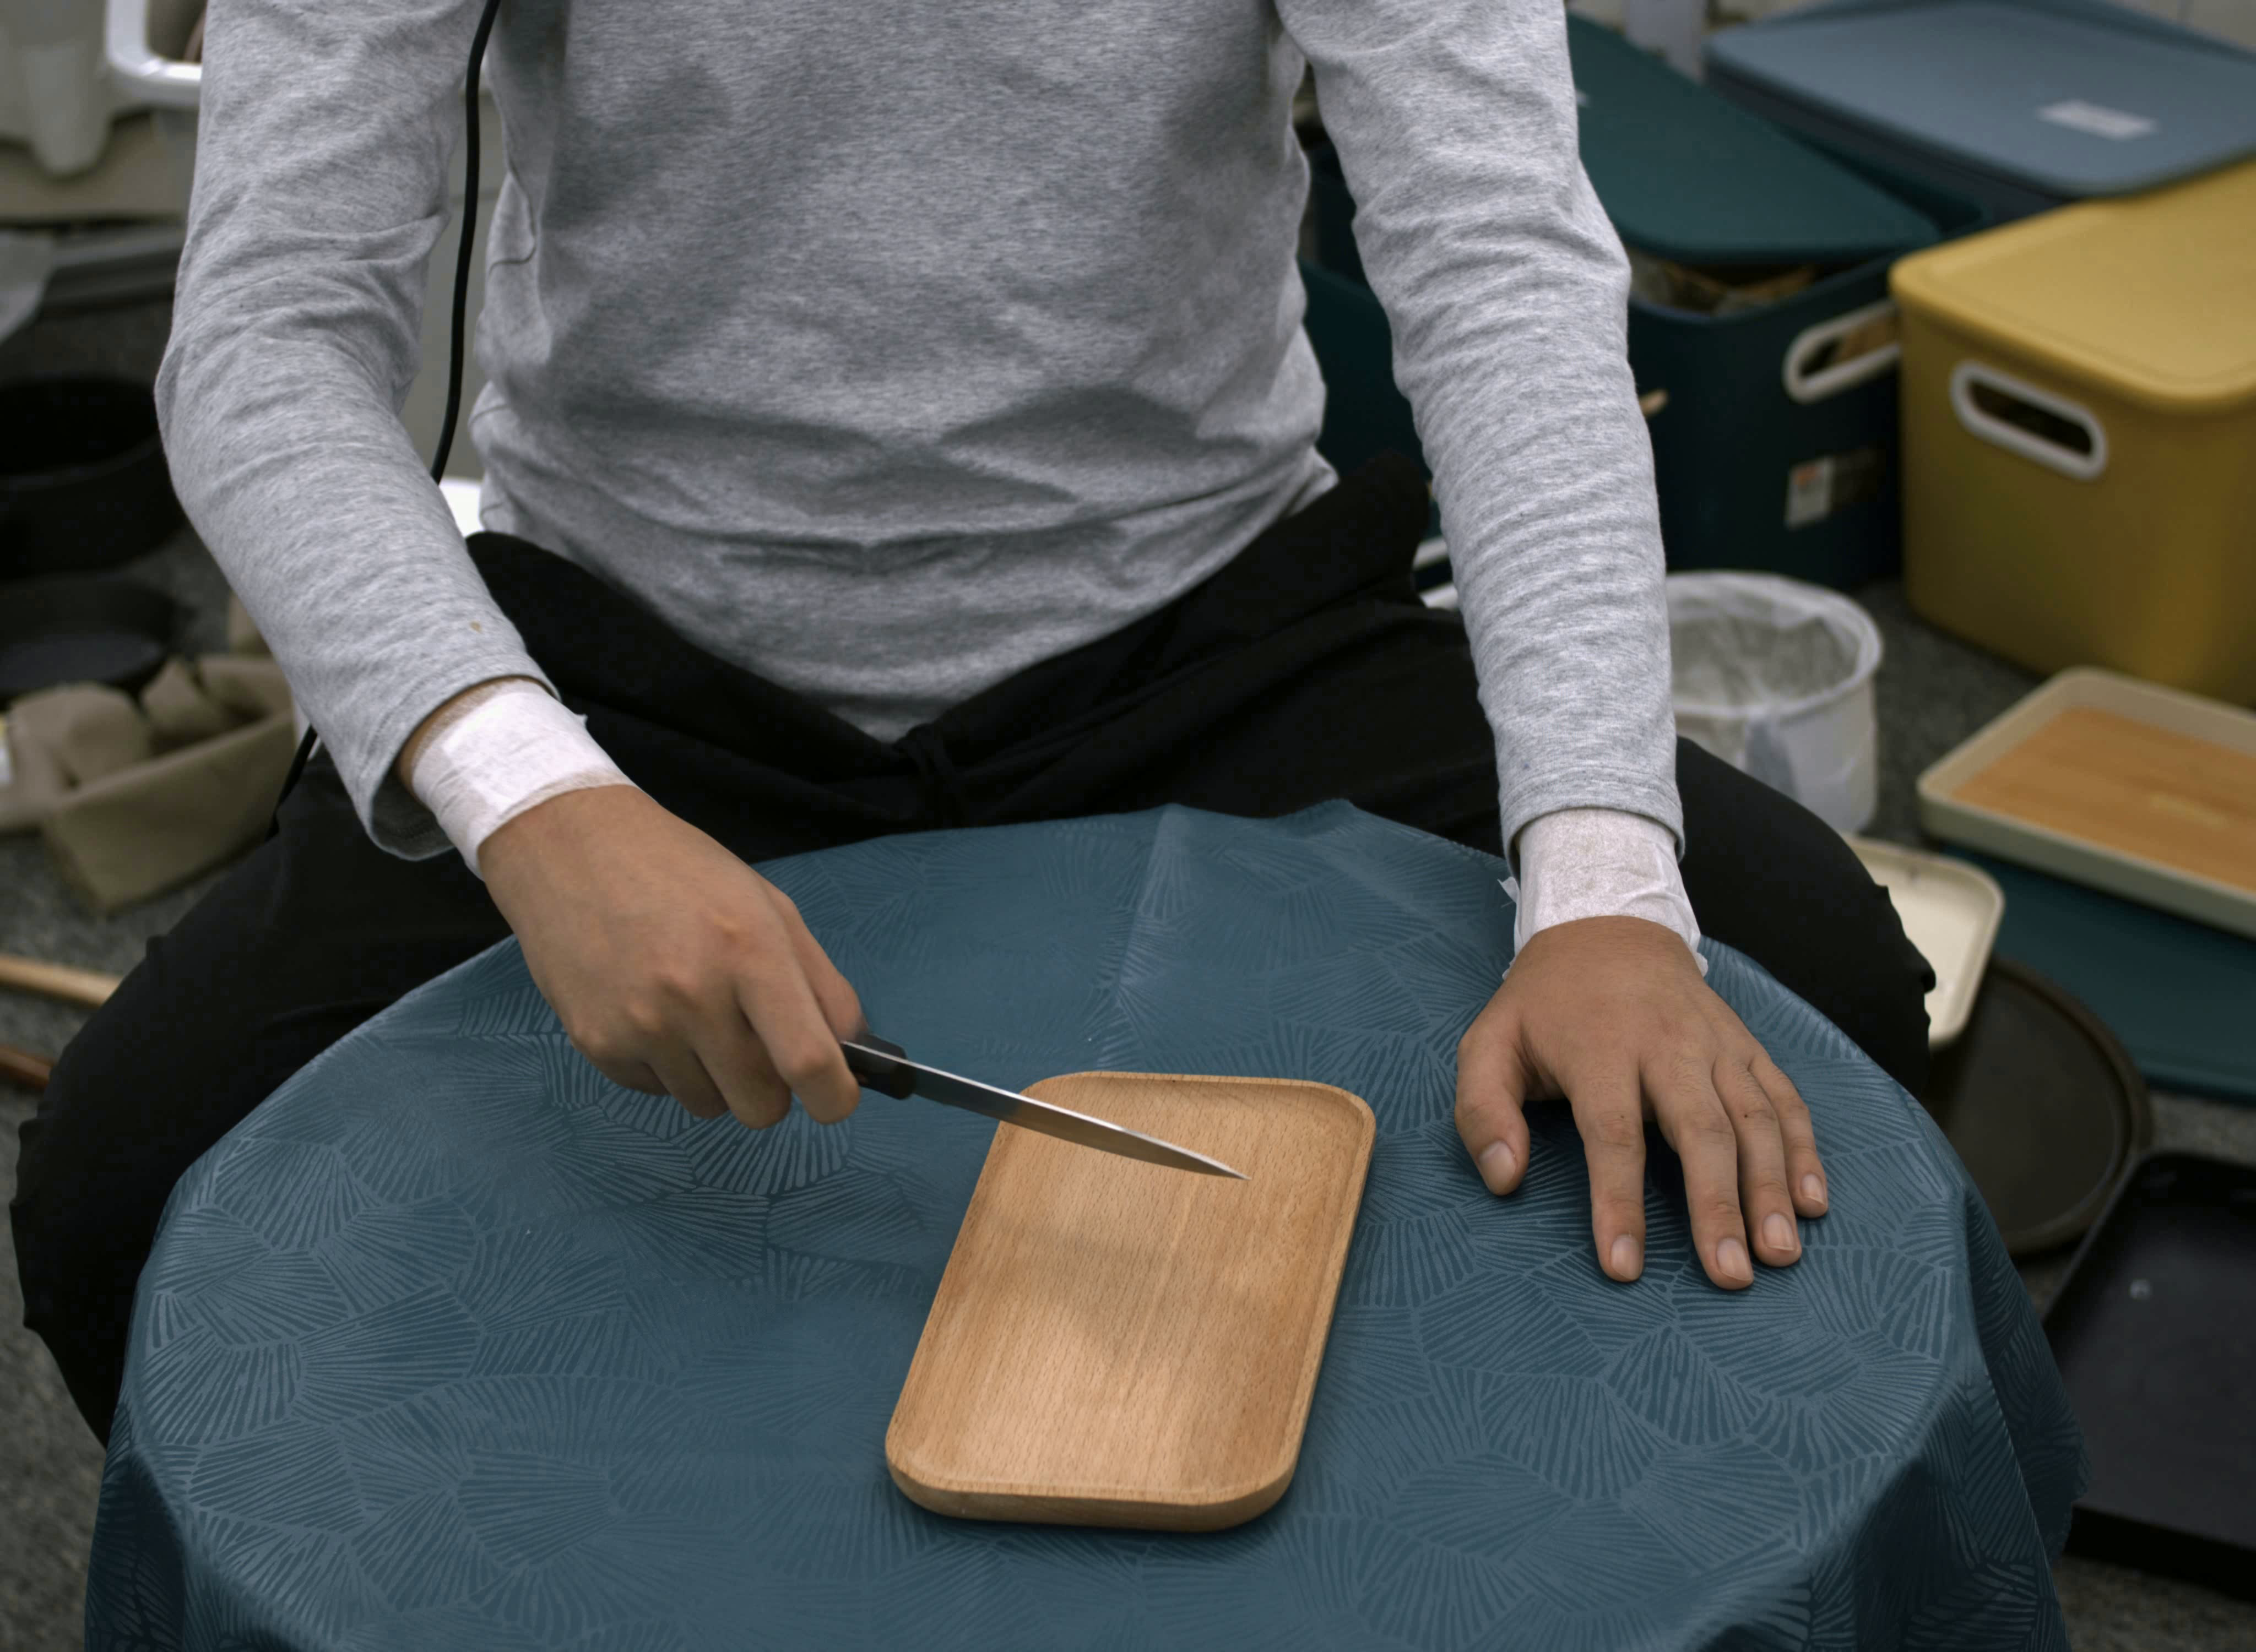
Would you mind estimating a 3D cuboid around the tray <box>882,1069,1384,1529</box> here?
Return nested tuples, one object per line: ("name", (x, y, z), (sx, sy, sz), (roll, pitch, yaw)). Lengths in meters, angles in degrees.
("tray", (0.005, 0.148, 1.792), (0.130, 0.022, 0.255), (5, 27, 9))

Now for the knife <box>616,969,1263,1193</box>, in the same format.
("knife", (-0.064, 0.084, 1.824), (0.237, 0.024, 0.016), (16, 63, 21))
